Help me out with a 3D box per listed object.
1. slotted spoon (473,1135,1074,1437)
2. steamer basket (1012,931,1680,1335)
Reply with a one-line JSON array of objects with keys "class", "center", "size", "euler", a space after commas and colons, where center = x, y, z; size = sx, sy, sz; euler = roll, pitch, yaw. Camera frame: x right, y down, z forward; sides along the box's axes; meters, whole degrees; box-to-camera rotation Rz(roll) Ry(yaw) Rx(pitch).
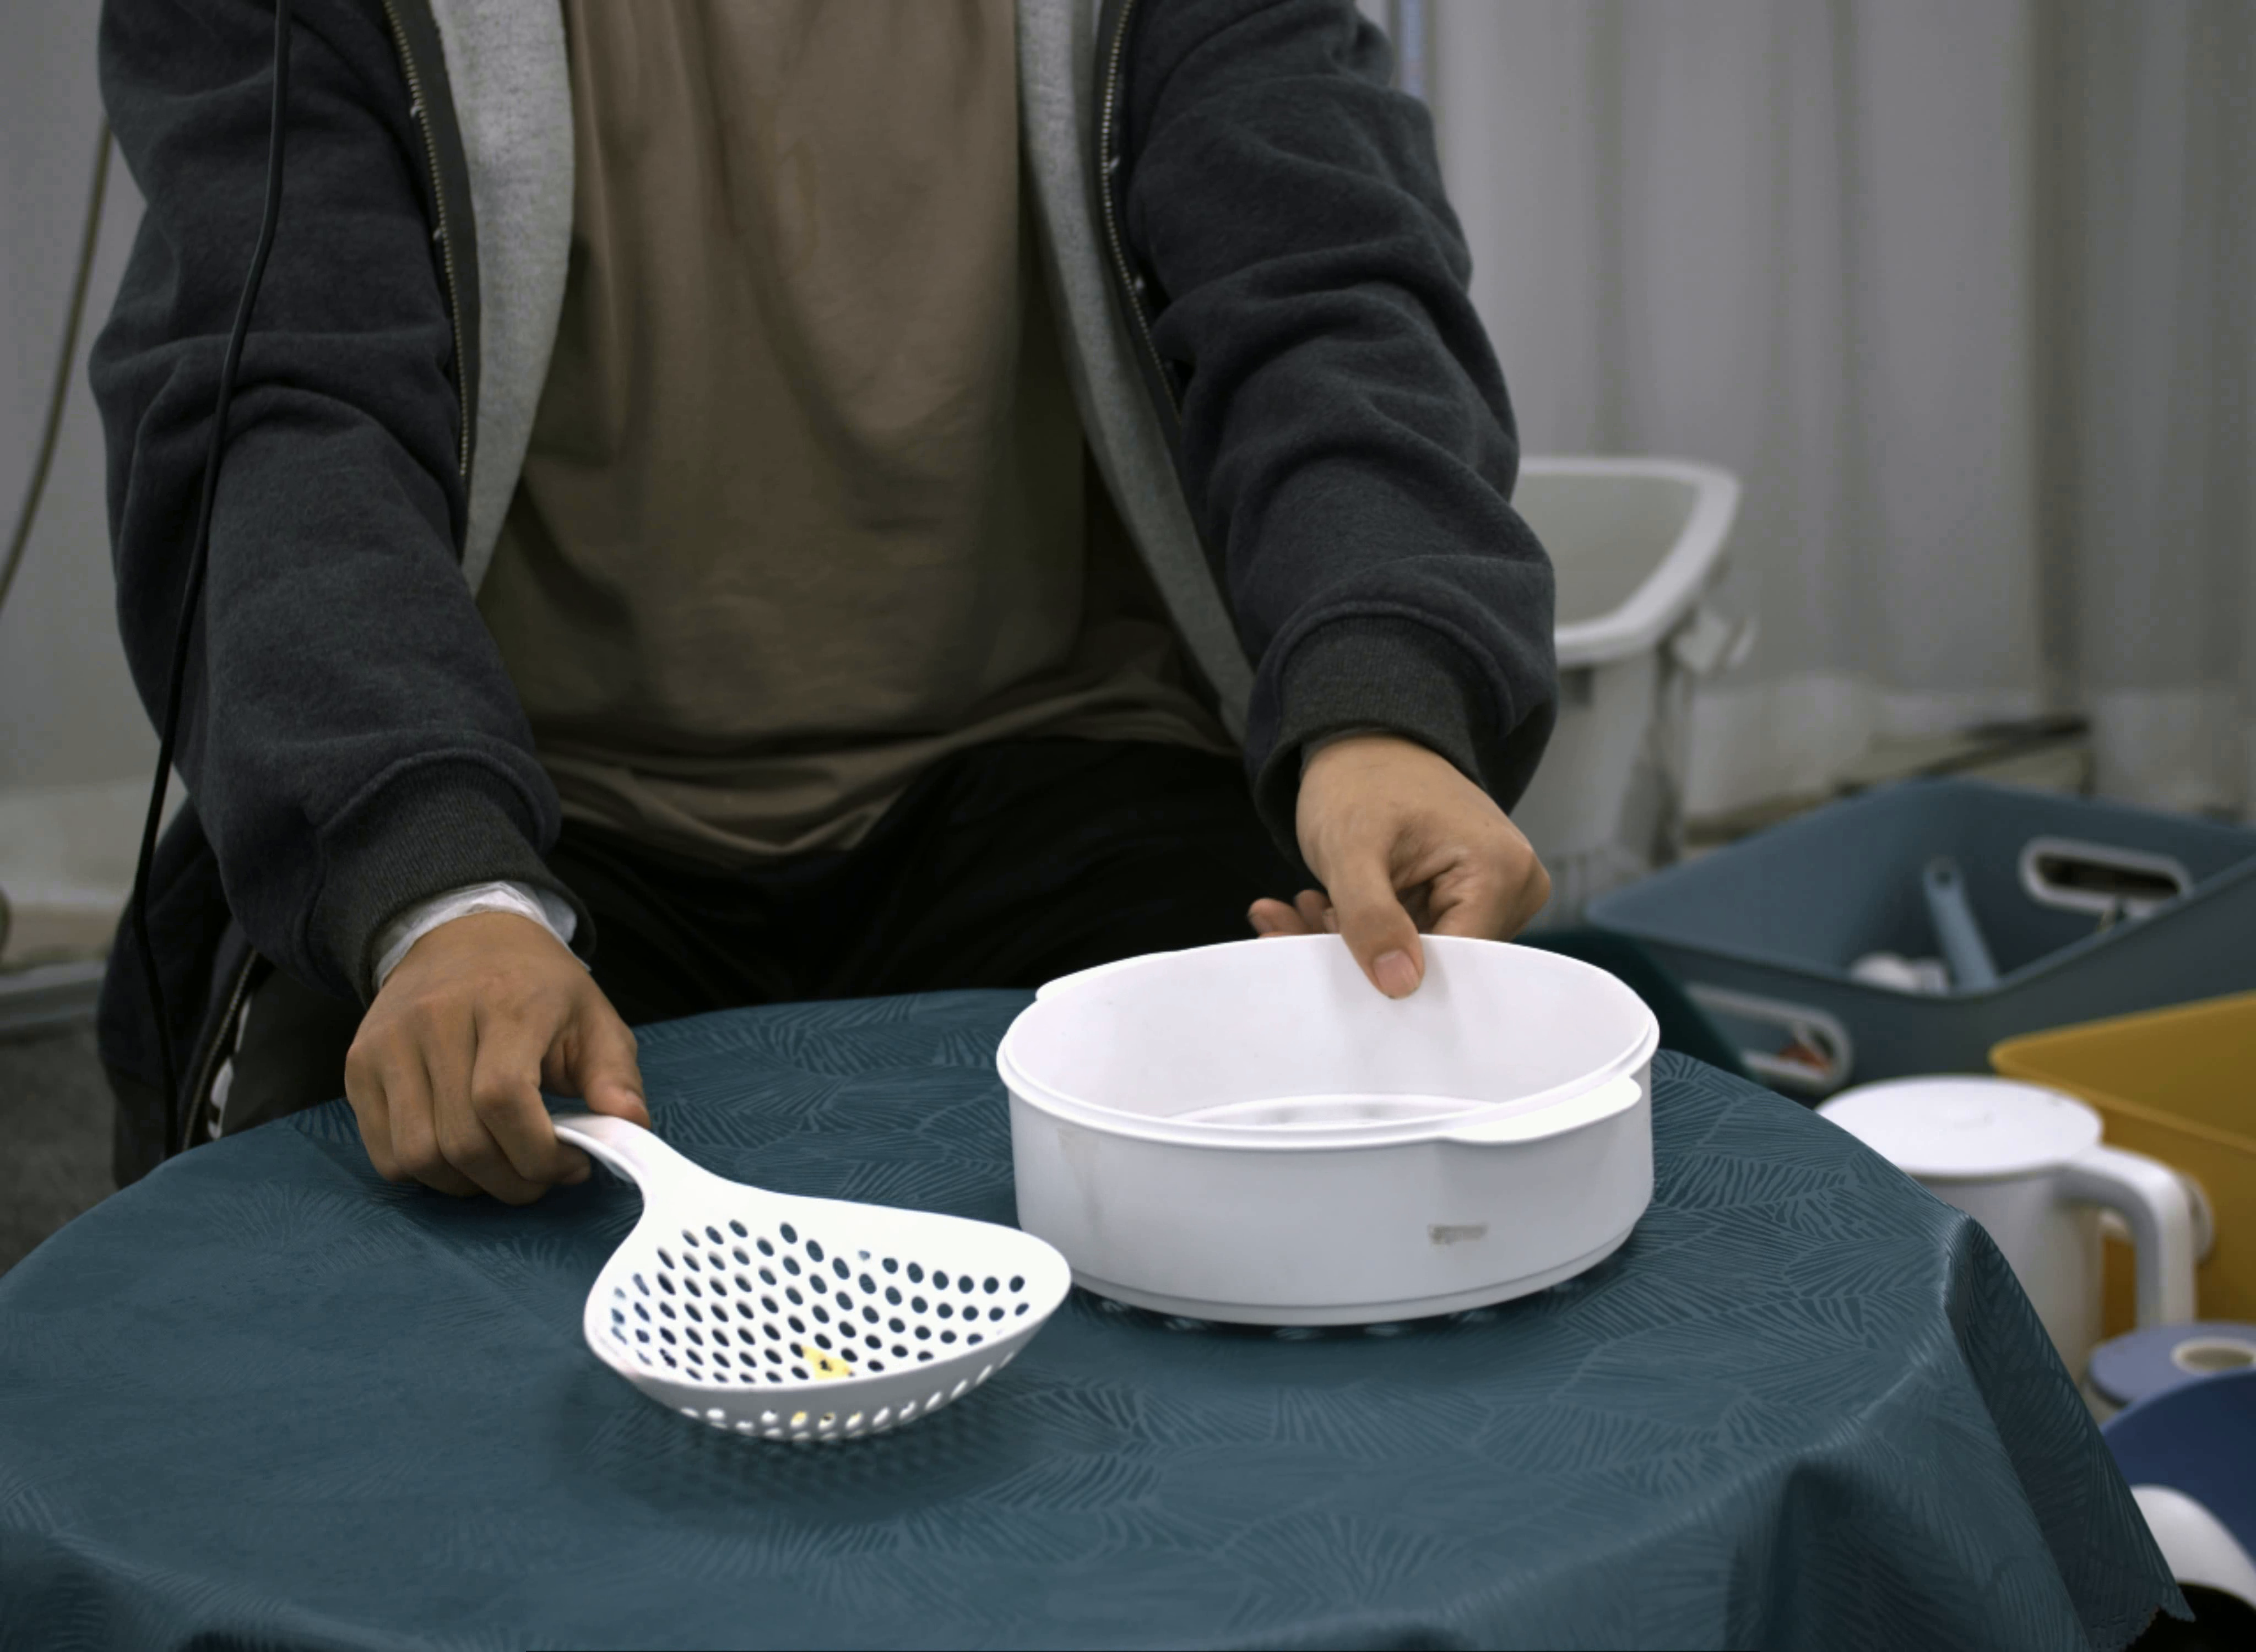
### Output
[{"class": "slotted spoon", "center": [-0.128, 0.122, 1.628], "size": [0.136, 0.050, 0.351], "euler": [-16, 19, -22]}, {"class": "steamer basket", "center": [0.066, 0.093, 1.653], "size": [0.201, 0.069, 0.232], "euler": [-14, 21, -36]}]
